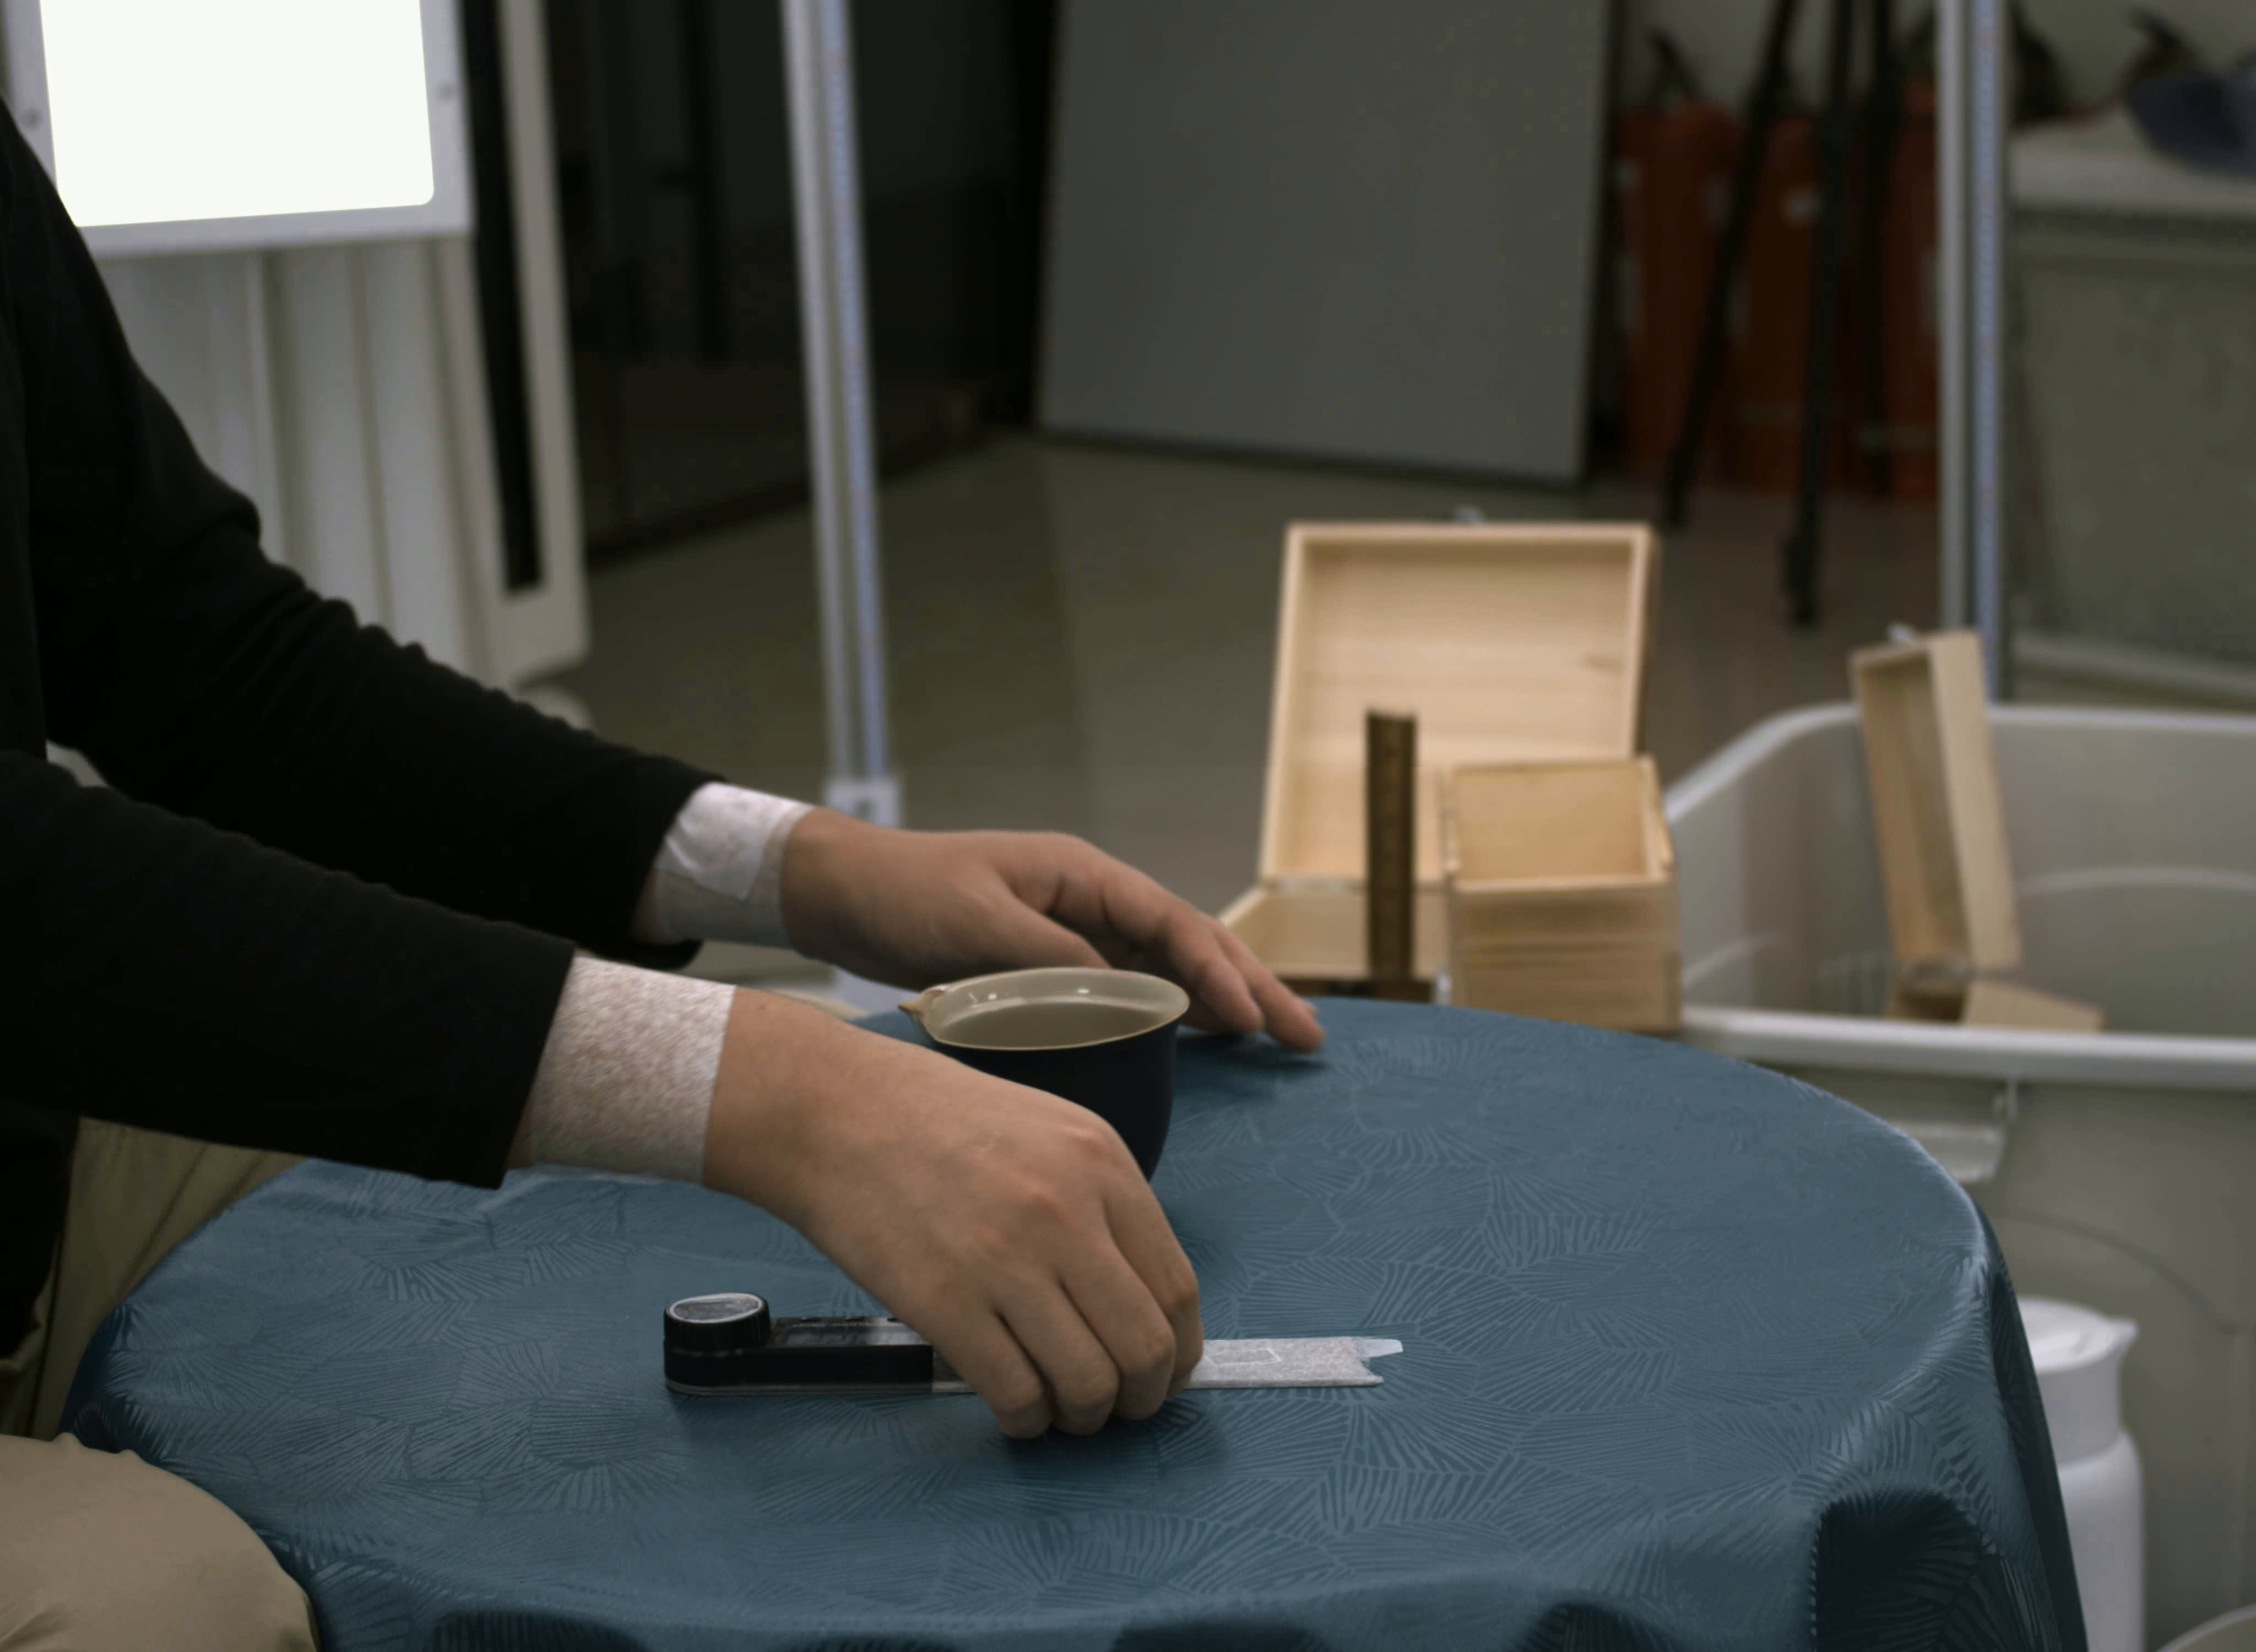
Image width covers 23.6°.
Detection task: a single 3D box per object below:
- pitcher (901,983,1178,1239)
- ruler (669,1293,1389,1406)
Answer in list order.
[{"bbox_3d":[-0.029,0.091,1.746,0.096,0.072,0.082,5,17,29],"label":"pitcher"},{"bbox_3d":[-0.030,0.152,1.603,0.216,0.024,0.038,-3,19,9],"label":"ruler"}]
